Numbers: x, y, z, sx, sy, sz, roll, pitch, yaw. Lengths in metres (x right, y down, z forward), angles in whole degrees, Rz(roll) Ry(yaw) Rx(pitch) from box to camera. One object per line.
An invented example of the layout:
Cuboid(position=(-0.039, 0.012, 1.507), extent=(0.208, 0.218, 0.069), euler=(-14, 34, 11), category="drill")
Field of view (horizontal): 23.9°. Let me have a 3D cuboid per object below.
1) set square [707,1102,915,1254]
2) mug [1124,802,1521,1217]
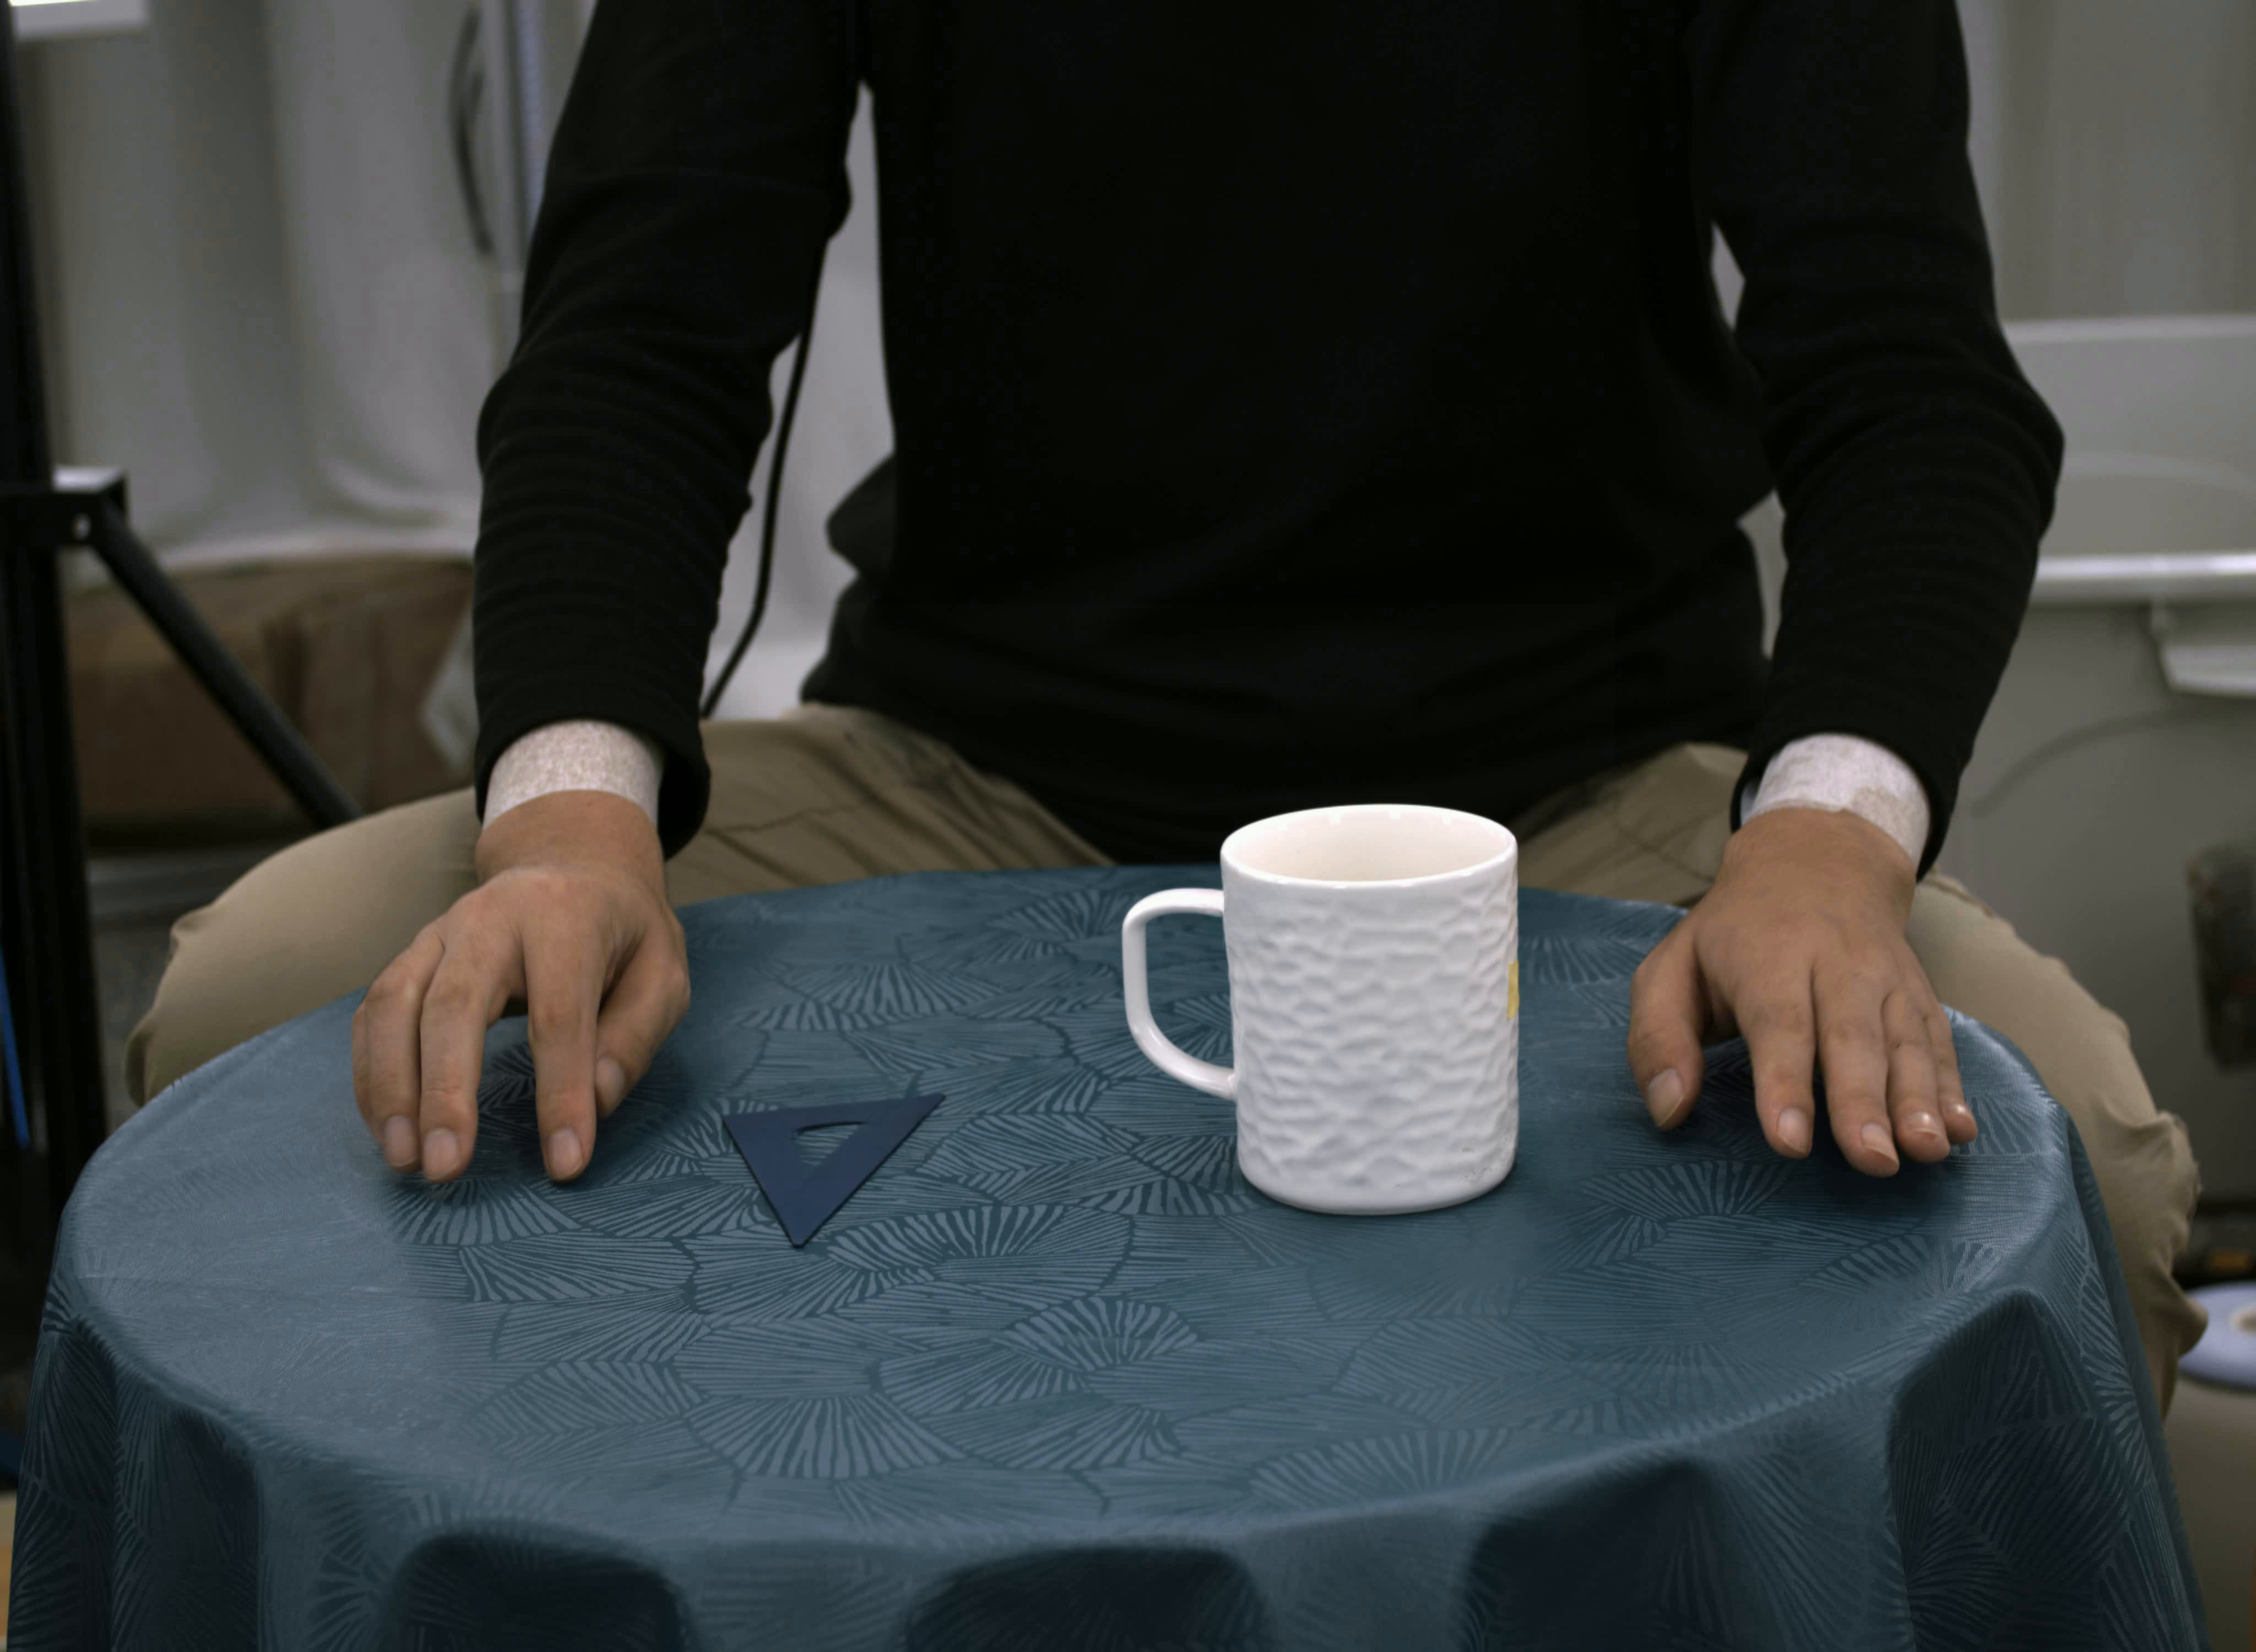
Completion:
Cuboid(position=(-0.113, 0.102, 1.590), extent=(0.062, 0.006, 0.130), euler=(5, 17, 20), category="set square")
Cuboid(position=(0.057, 0.053, 1.555), extent=(0.119, 0.102, 0.084), euler=(2, 16, 16), category="mug")
